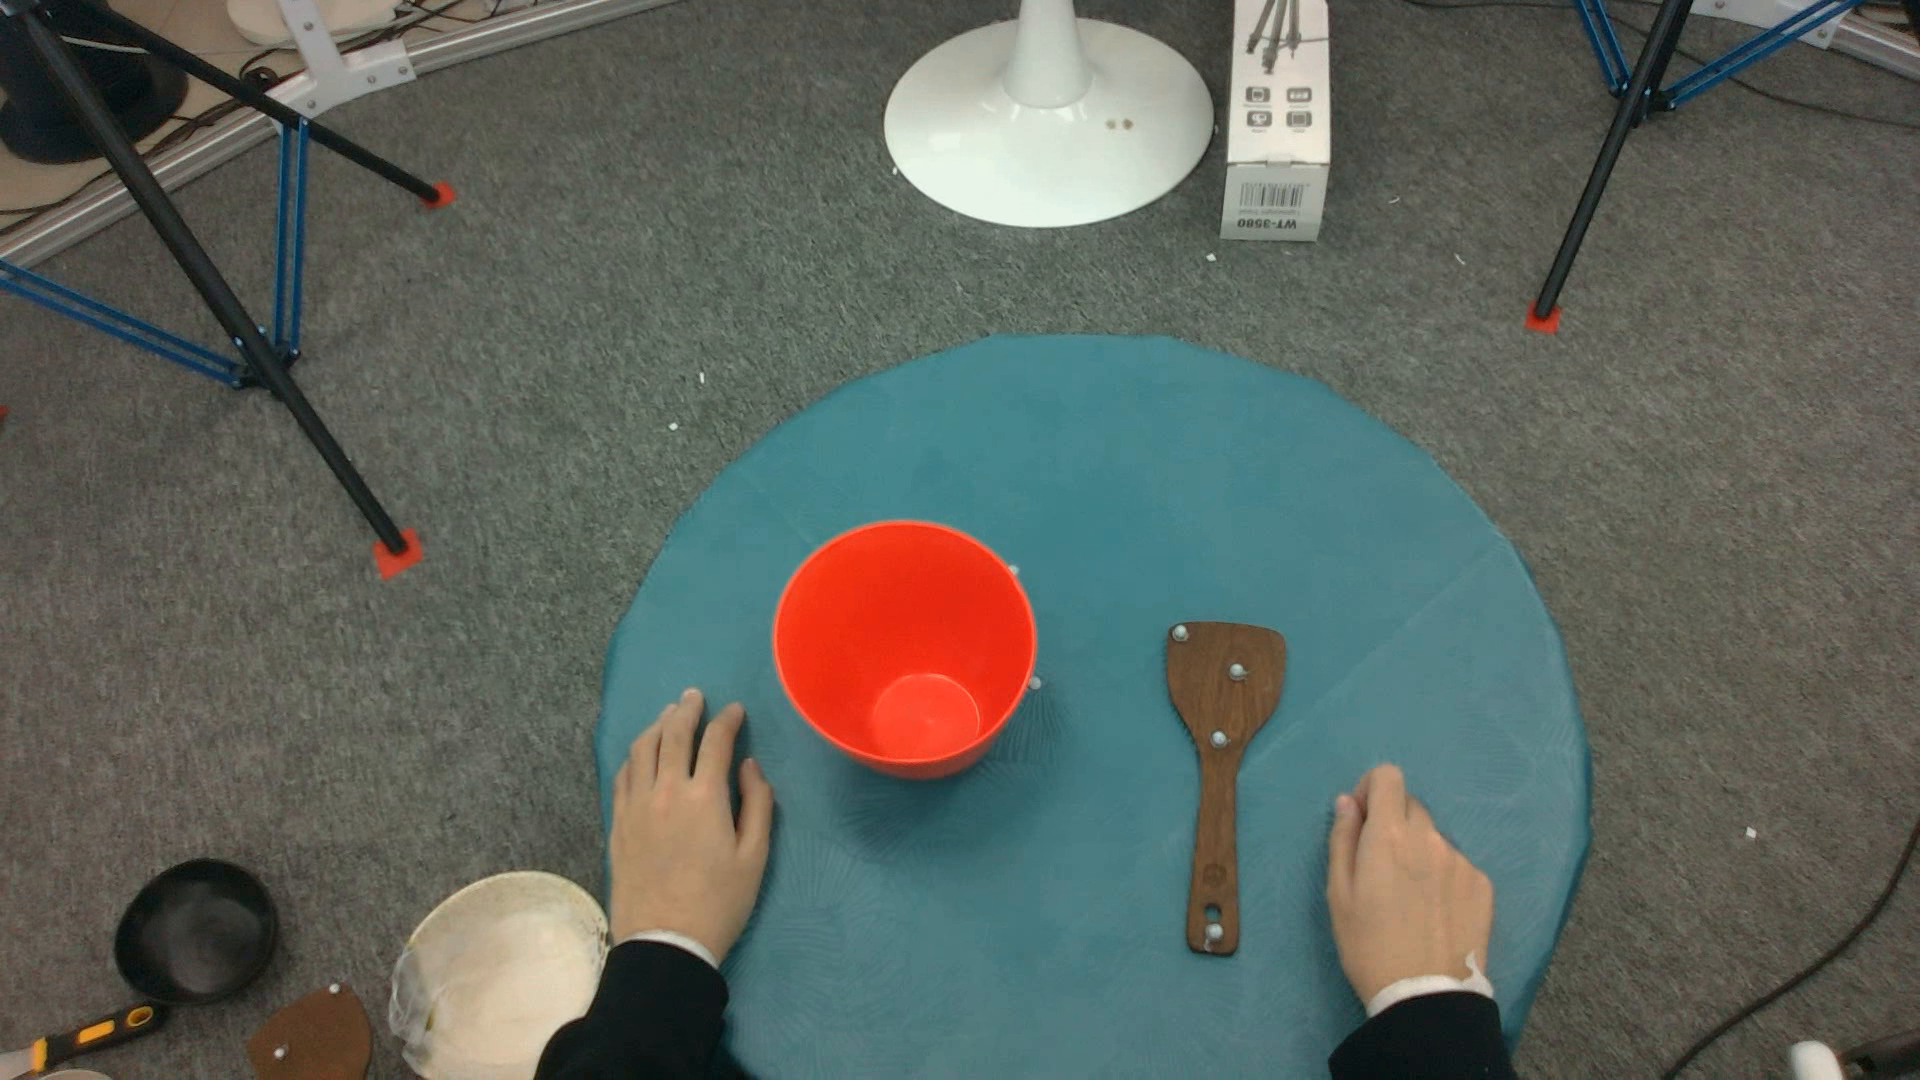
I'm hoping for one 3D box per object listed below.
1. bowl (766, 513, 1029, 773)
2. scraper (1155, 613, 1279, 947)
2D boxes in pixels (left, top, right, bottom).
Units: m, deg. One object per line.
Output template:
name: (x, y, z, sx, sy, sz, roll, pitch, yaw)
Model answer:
bowl: (-0.033, 0.072, 0.805, 0.148, 0.104, 0.148, 0, 55, 1)
scraper: (0.147, 0.134, 0.807, 0.076, 0.011, 0.212, 5, 55, 8)
